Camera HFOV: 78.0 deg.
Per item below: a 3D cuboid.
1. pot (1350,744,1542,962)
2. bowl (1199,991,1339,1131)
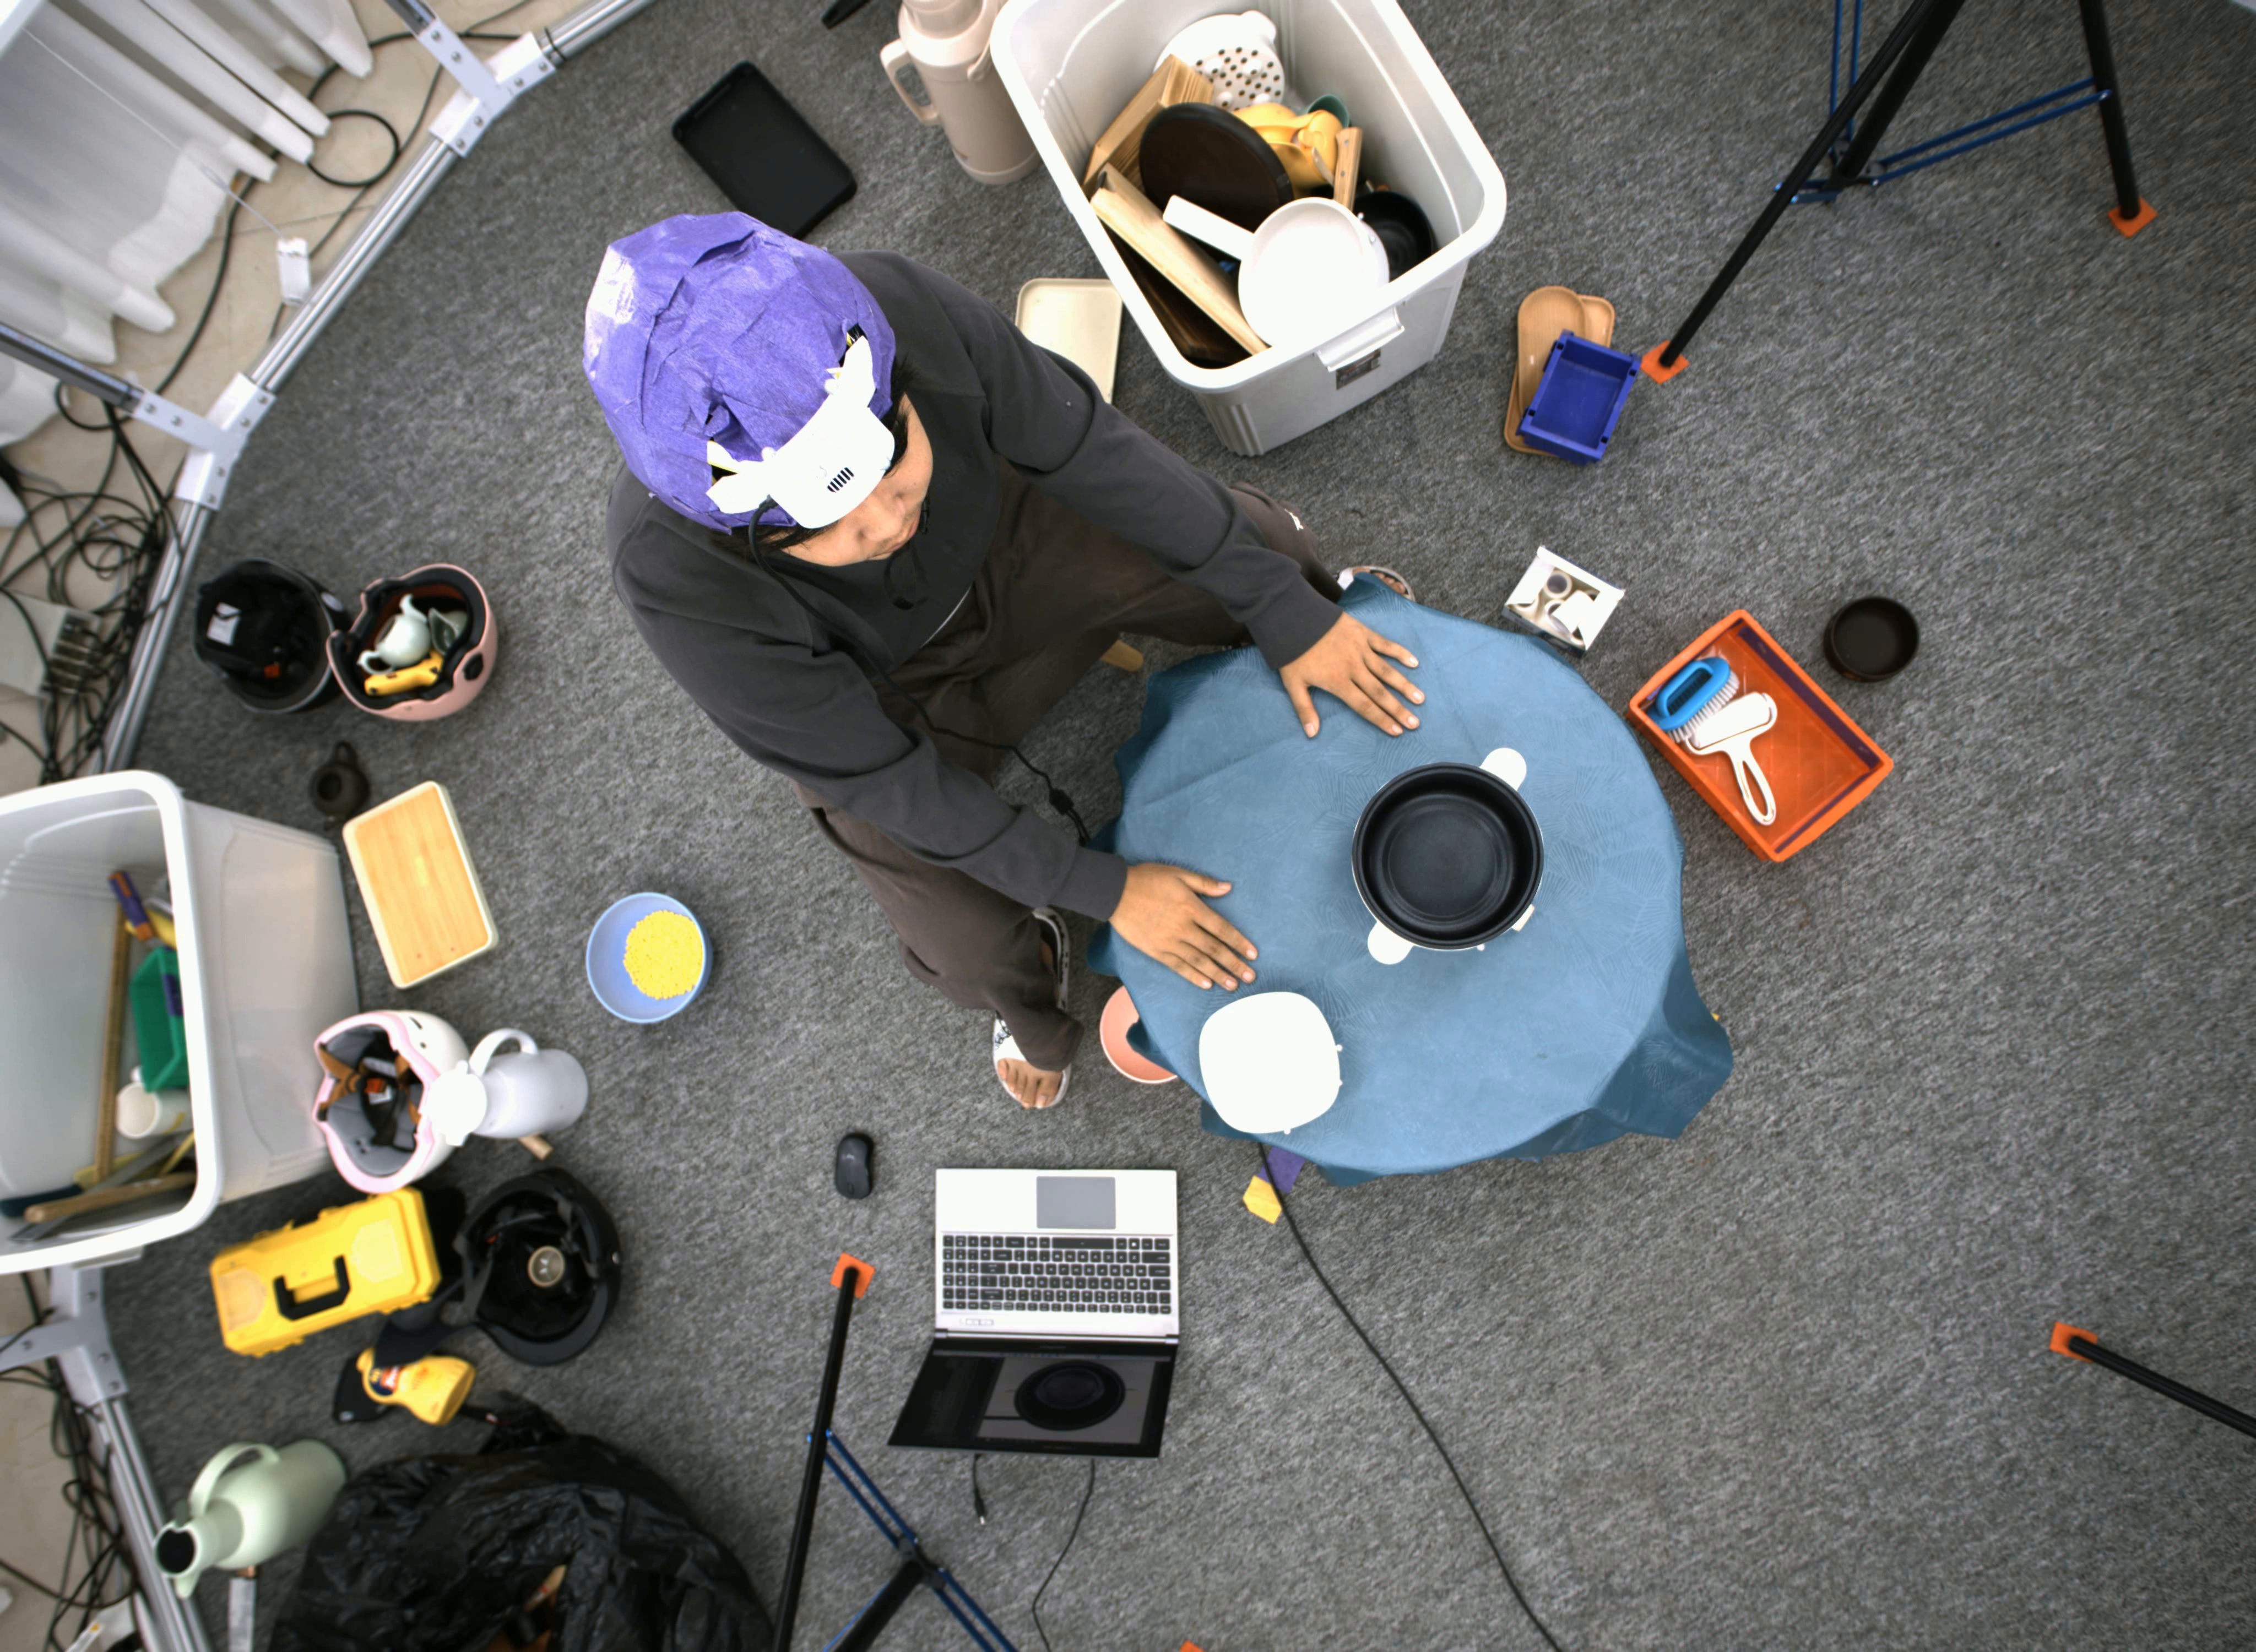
[{"bbox_3d":[0.321,0.033,1.382,0.190,0.142,0.241,32,94,14],"label":"pot"},{"bbox_3d":[0.148,0.243,1.446,0.152,0.059,0.150,-1,86,9],"label":"bowl"}]
